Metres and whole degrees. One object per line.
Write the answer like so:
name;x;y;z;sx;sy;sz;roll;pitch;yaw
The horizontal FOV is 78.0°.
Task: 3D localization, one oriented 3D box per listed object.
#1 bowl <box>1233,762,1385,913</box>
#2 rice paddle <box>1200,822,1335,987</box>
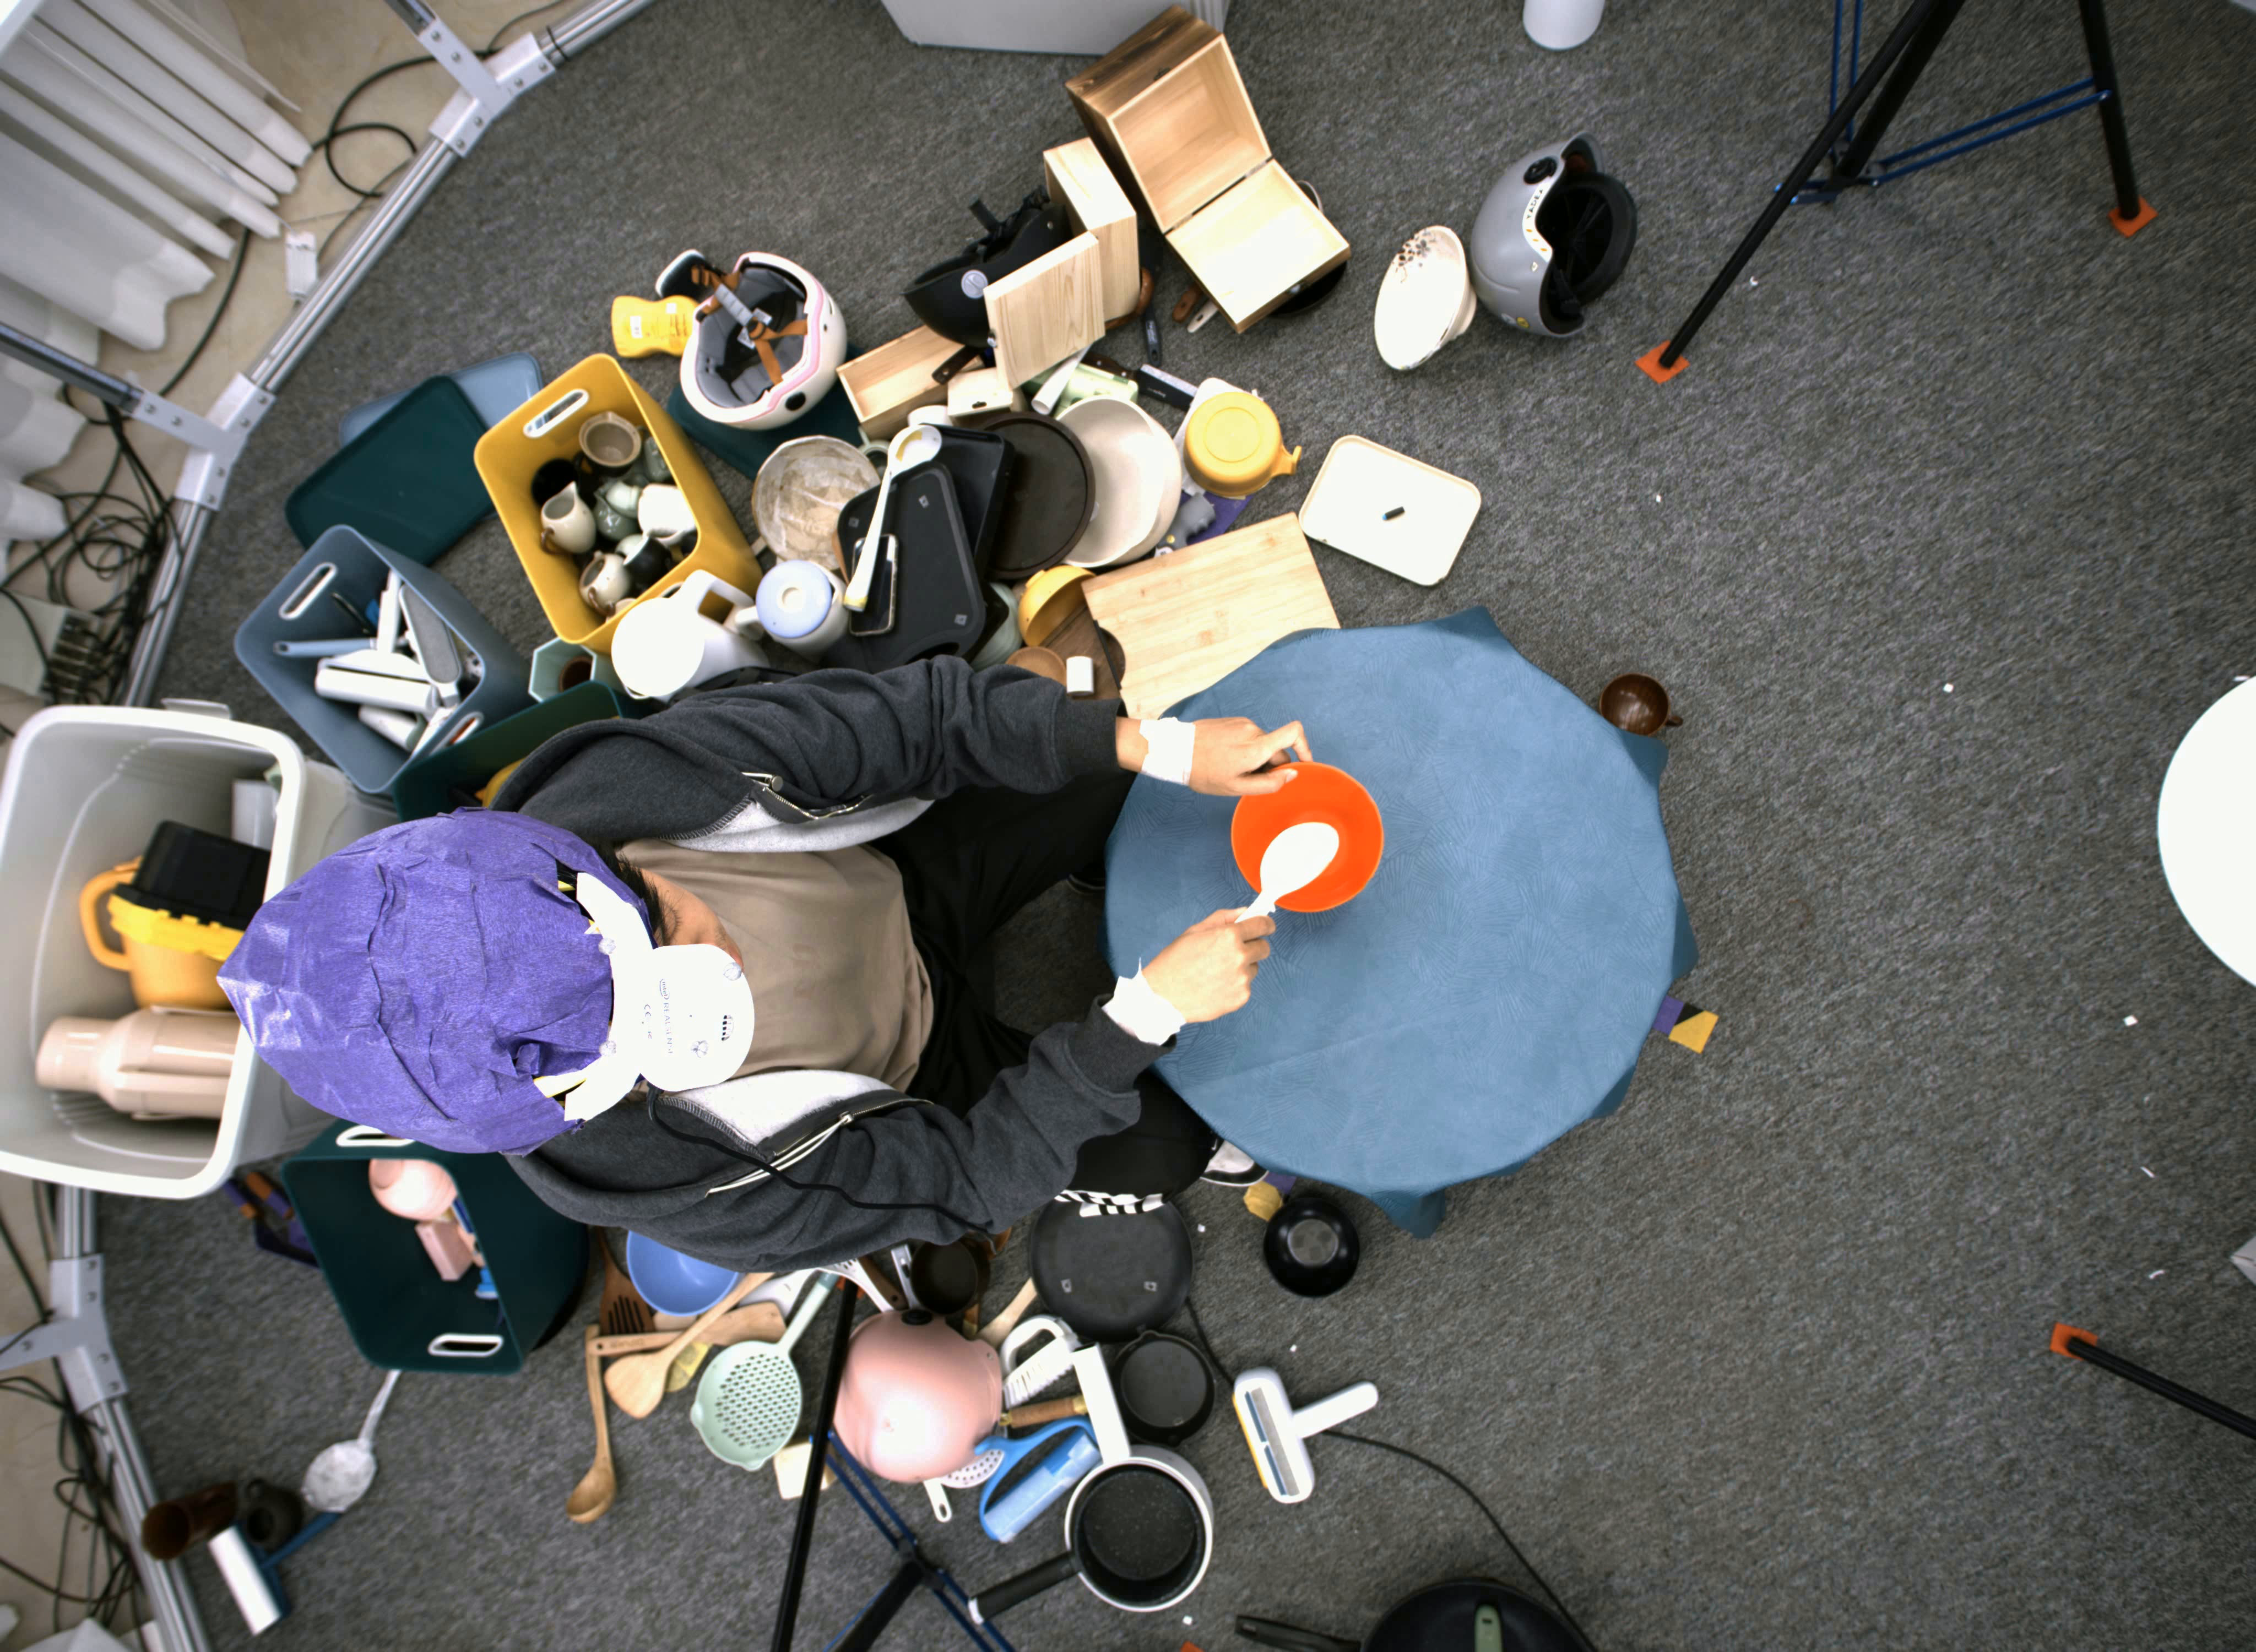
bowl;0.183;0.009;1.376;0.148;0.104;0.148;1;95;13
rice paddle;0.131;0.064;1.301;0.069;0.030;0.201;16;56;35
